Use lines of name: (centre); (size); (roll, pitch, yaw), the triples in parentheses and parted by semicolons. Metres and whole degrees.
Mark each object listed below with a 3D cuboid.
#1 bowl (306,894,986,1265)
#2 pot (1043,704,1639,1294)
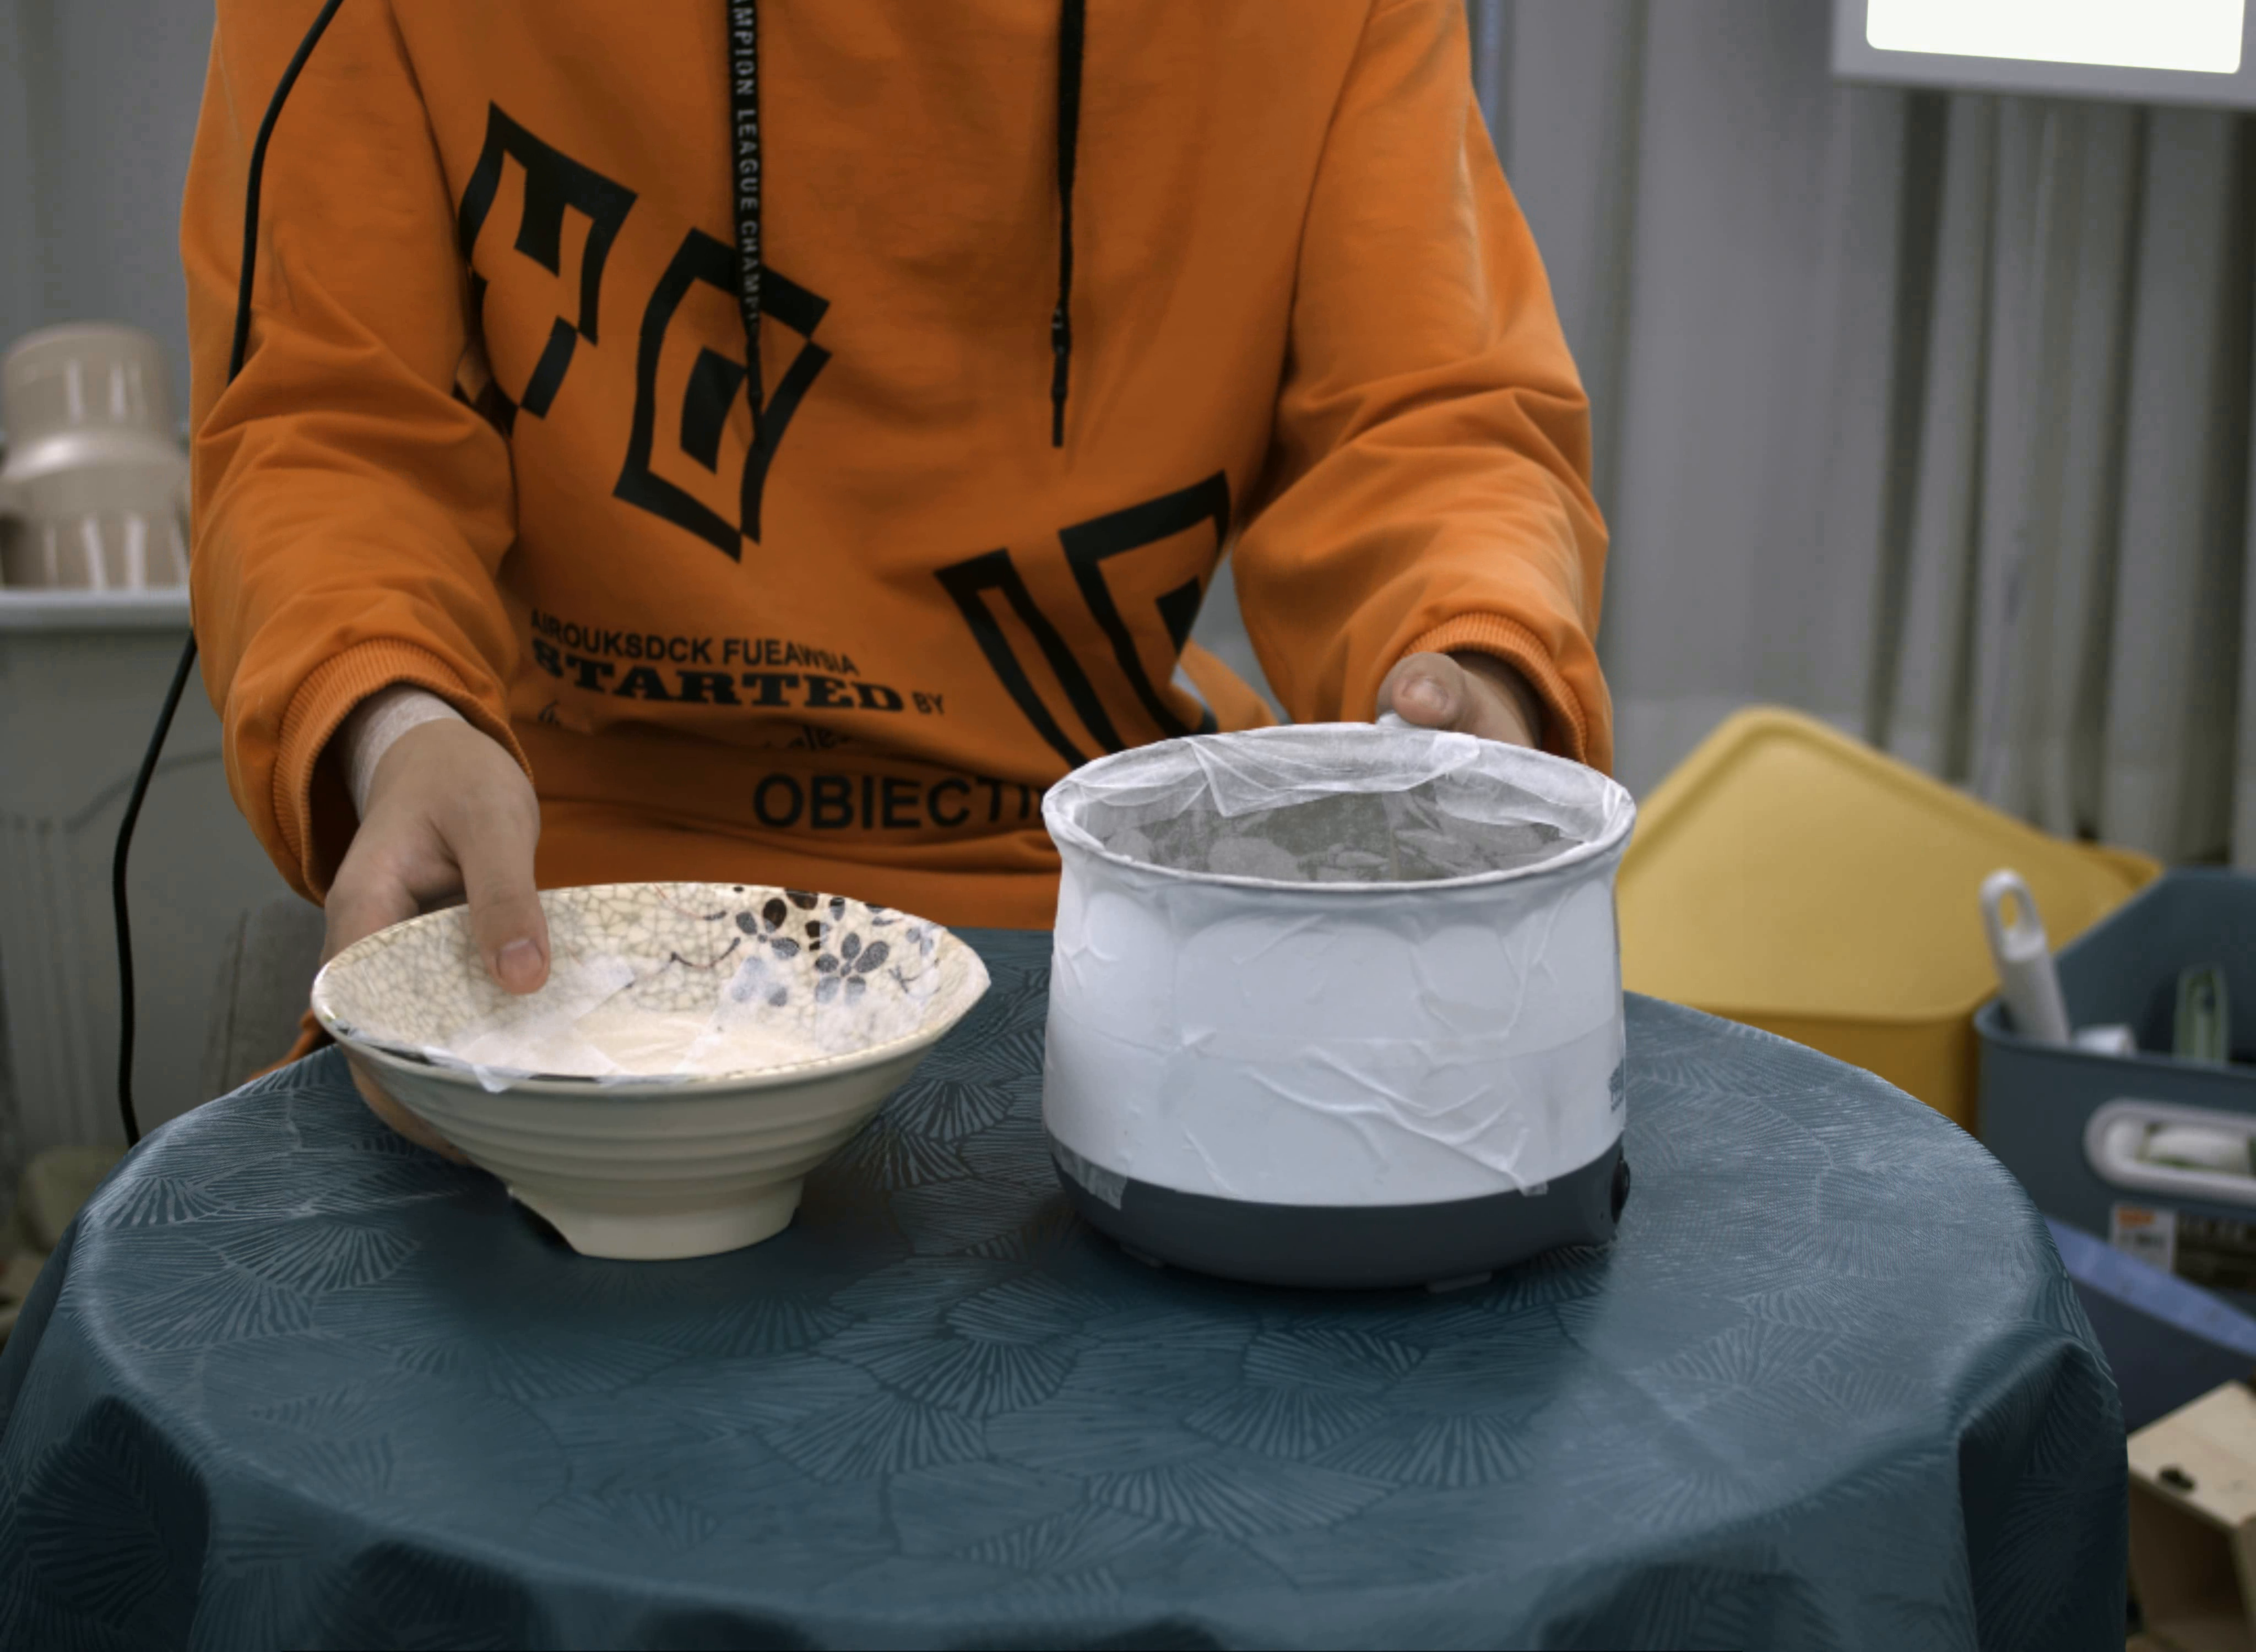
bowl: (-0.144, 0.082, 1.587); (0.203, 0.078, 0.203); (0, 14, 1)
pot: (0.069, 0.046, 1.605); (0.177, 0.138, 0.233); (4, 17, 12)
